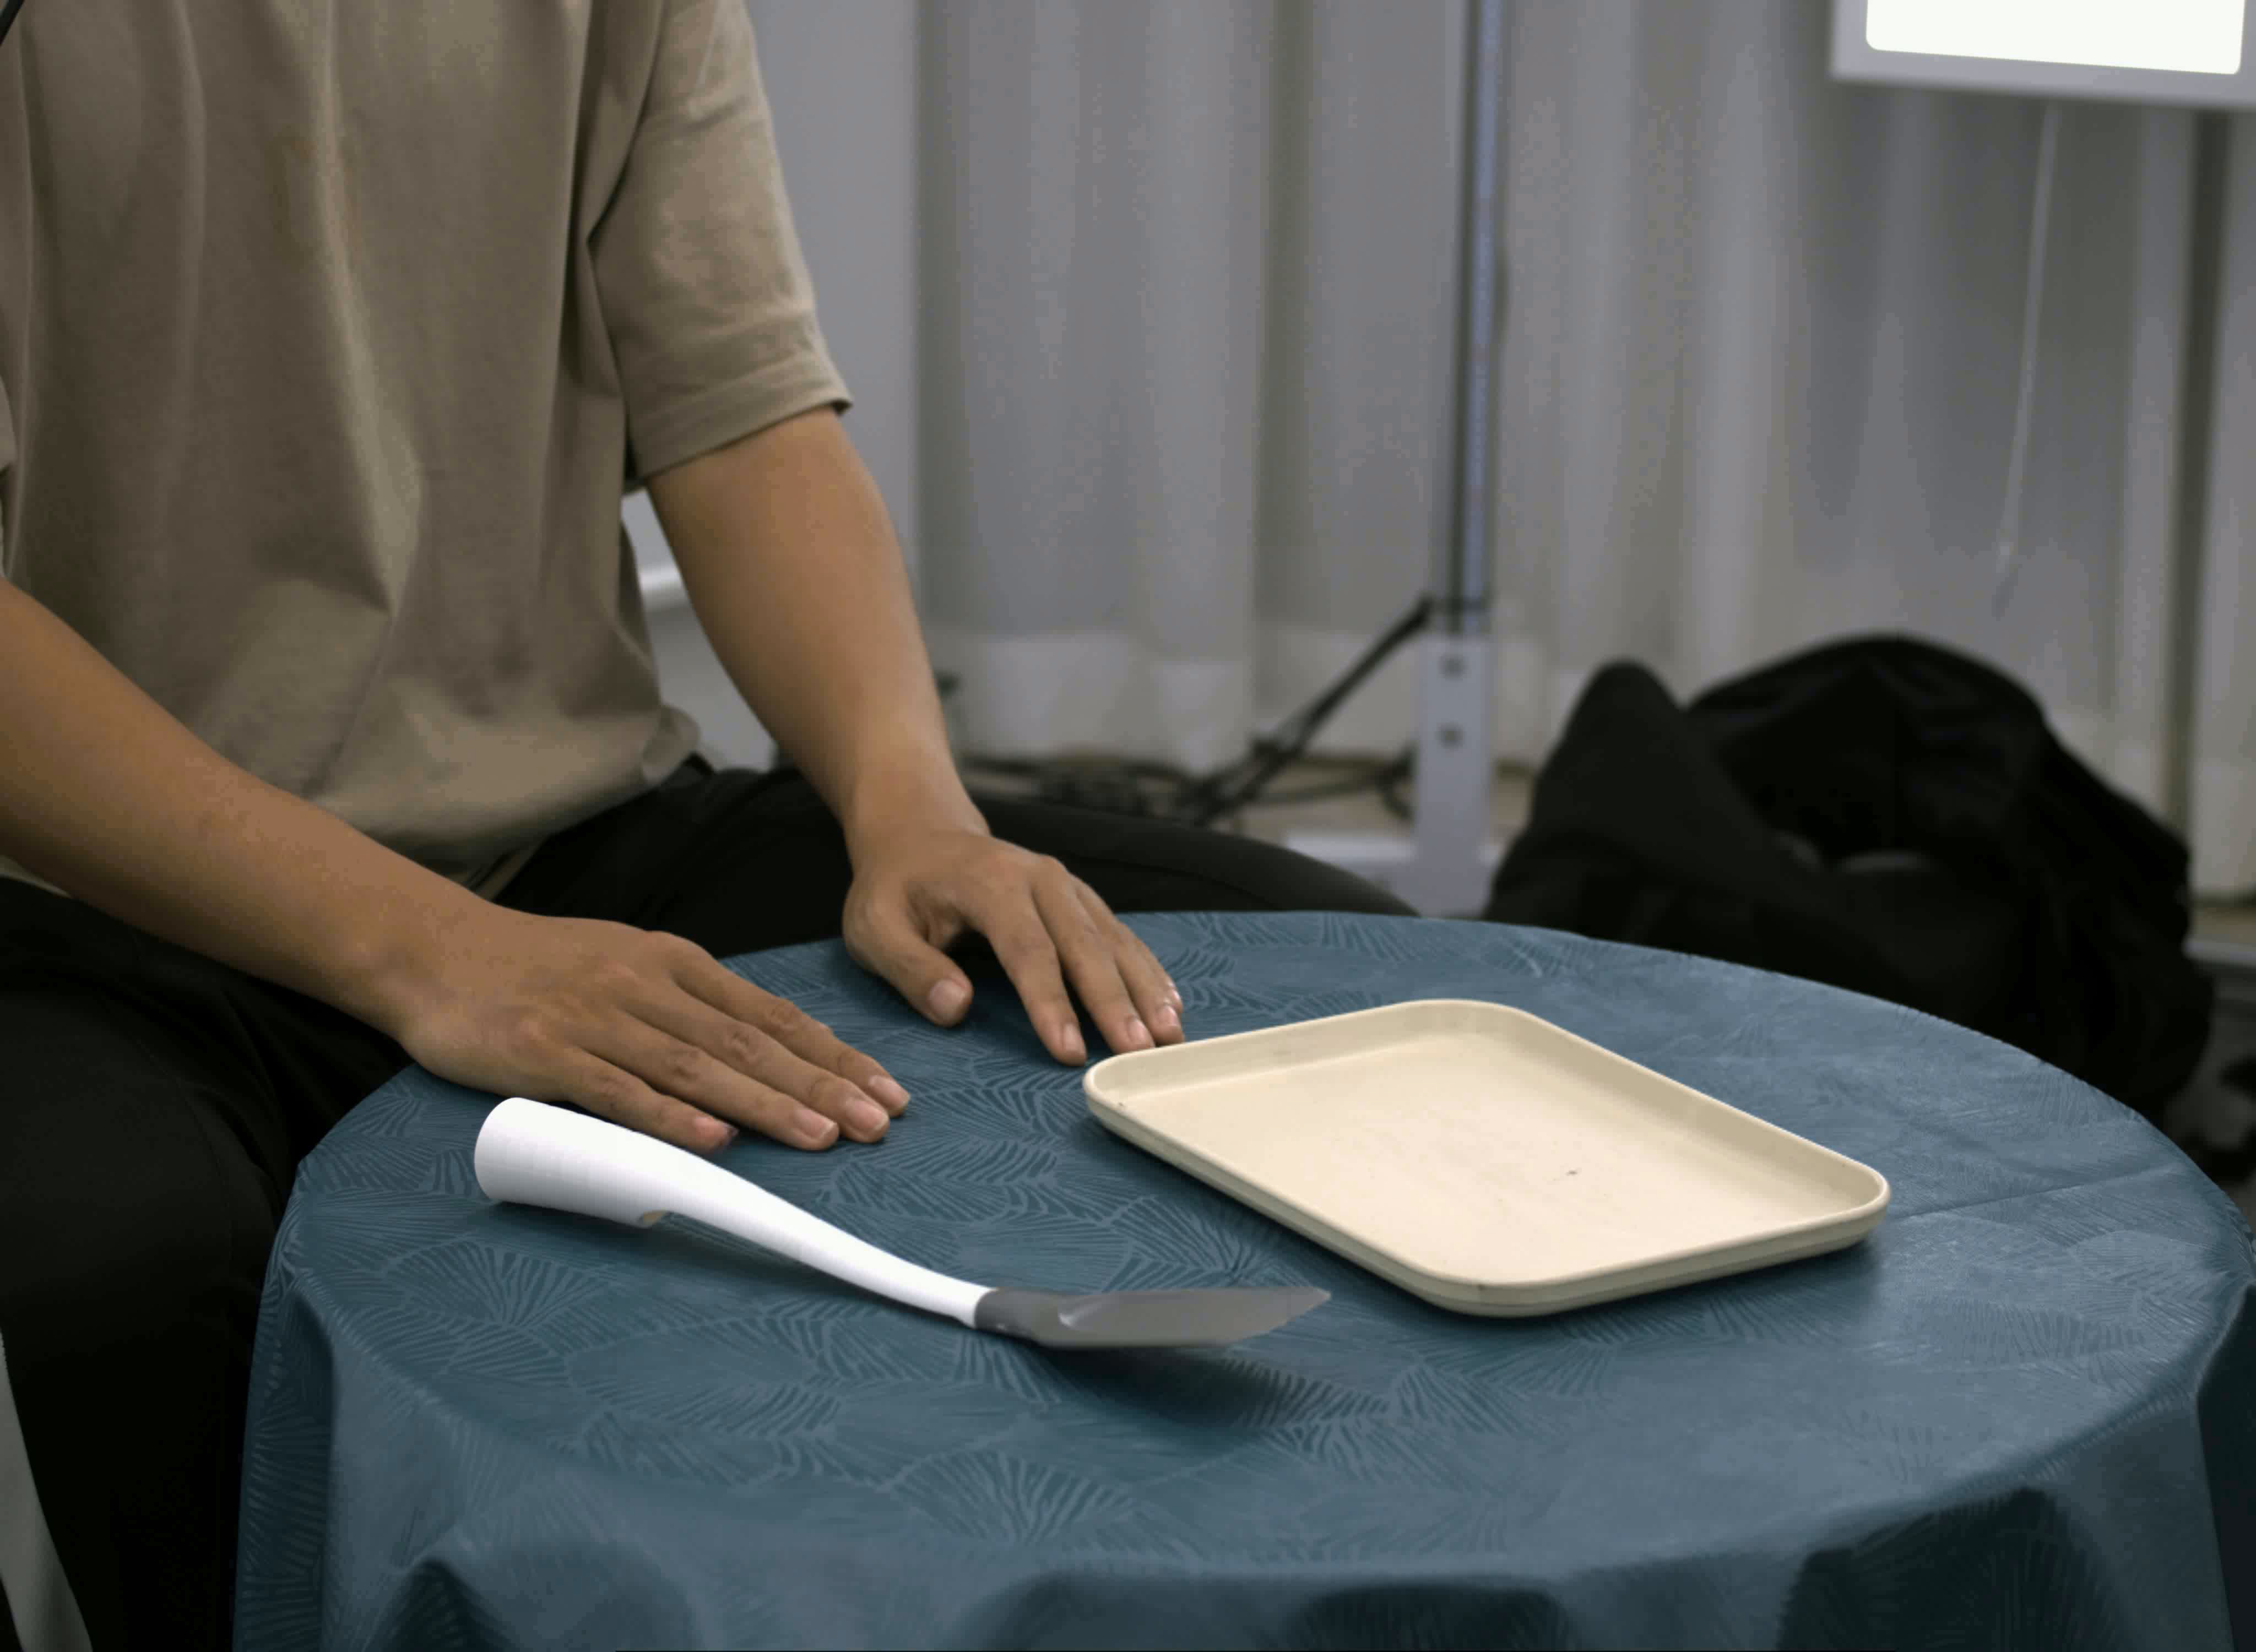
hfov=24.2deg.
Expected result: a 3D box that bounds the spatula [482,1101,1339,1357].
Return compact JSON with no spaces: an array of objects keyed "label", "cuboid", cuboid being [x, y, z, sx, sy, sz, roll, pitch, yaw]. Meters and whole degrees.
[{"label":"spatula","cuboid":[-0.069,0.122,1.524,0.284,0.032,0.059,11,15,33]}]

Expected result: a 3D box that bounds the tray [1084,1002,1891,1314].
[{"label":"tray","cuboid":[0.108,0.102,1.638,0.172,0.017,0.236,-8,18,-31]}]
